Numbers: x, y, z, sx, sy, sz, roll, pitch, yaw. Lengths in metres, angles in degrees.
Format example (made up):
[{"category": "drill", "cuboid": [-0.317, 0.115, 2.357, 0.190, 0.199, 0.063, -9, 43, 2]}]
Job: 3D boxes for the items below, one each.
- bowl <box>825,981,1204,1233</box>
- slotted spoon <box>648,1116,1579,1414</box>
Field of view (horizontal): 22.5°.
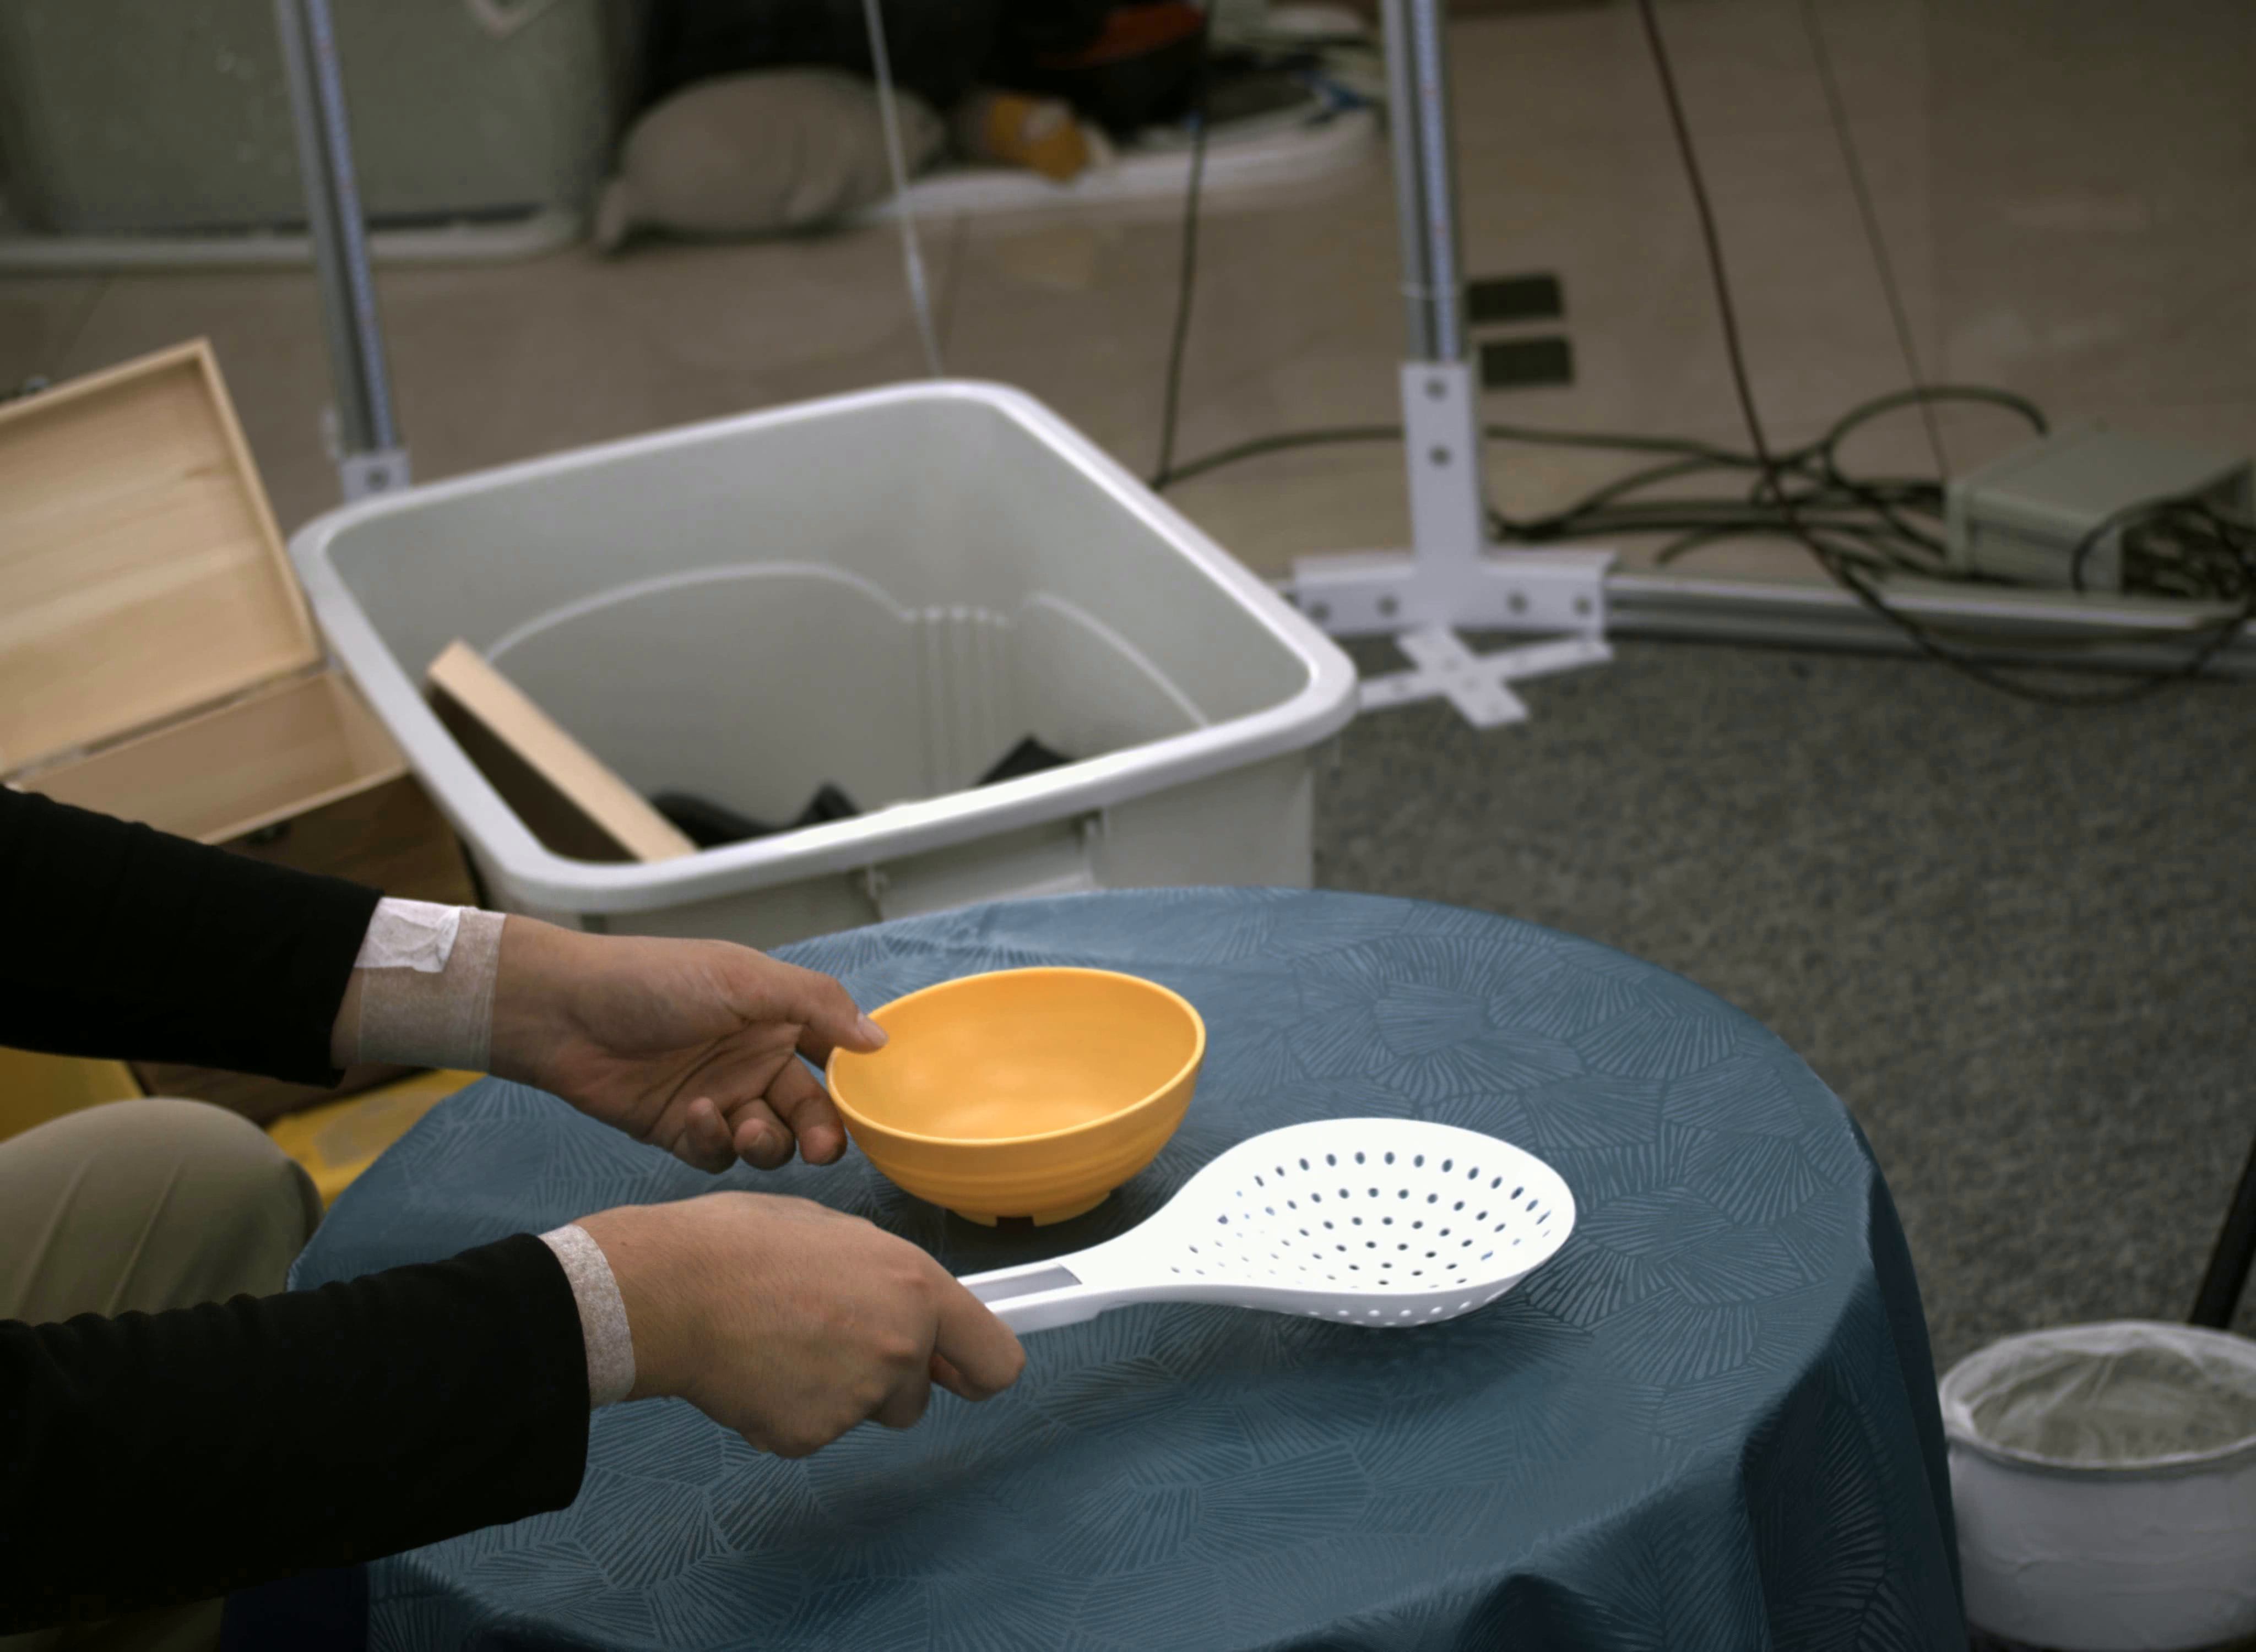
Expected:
[{"category": "bowl", "cuboid": [-0.040, 0.113, 2.146, 0.145, 0.061, 0.143, -5, 23, 2]}, {"category": "slotted spoon", "cuboid": [-0.003, 0.160, 1.996, 0.349, 0.046, 0.134, -6, 25, -26]}]
